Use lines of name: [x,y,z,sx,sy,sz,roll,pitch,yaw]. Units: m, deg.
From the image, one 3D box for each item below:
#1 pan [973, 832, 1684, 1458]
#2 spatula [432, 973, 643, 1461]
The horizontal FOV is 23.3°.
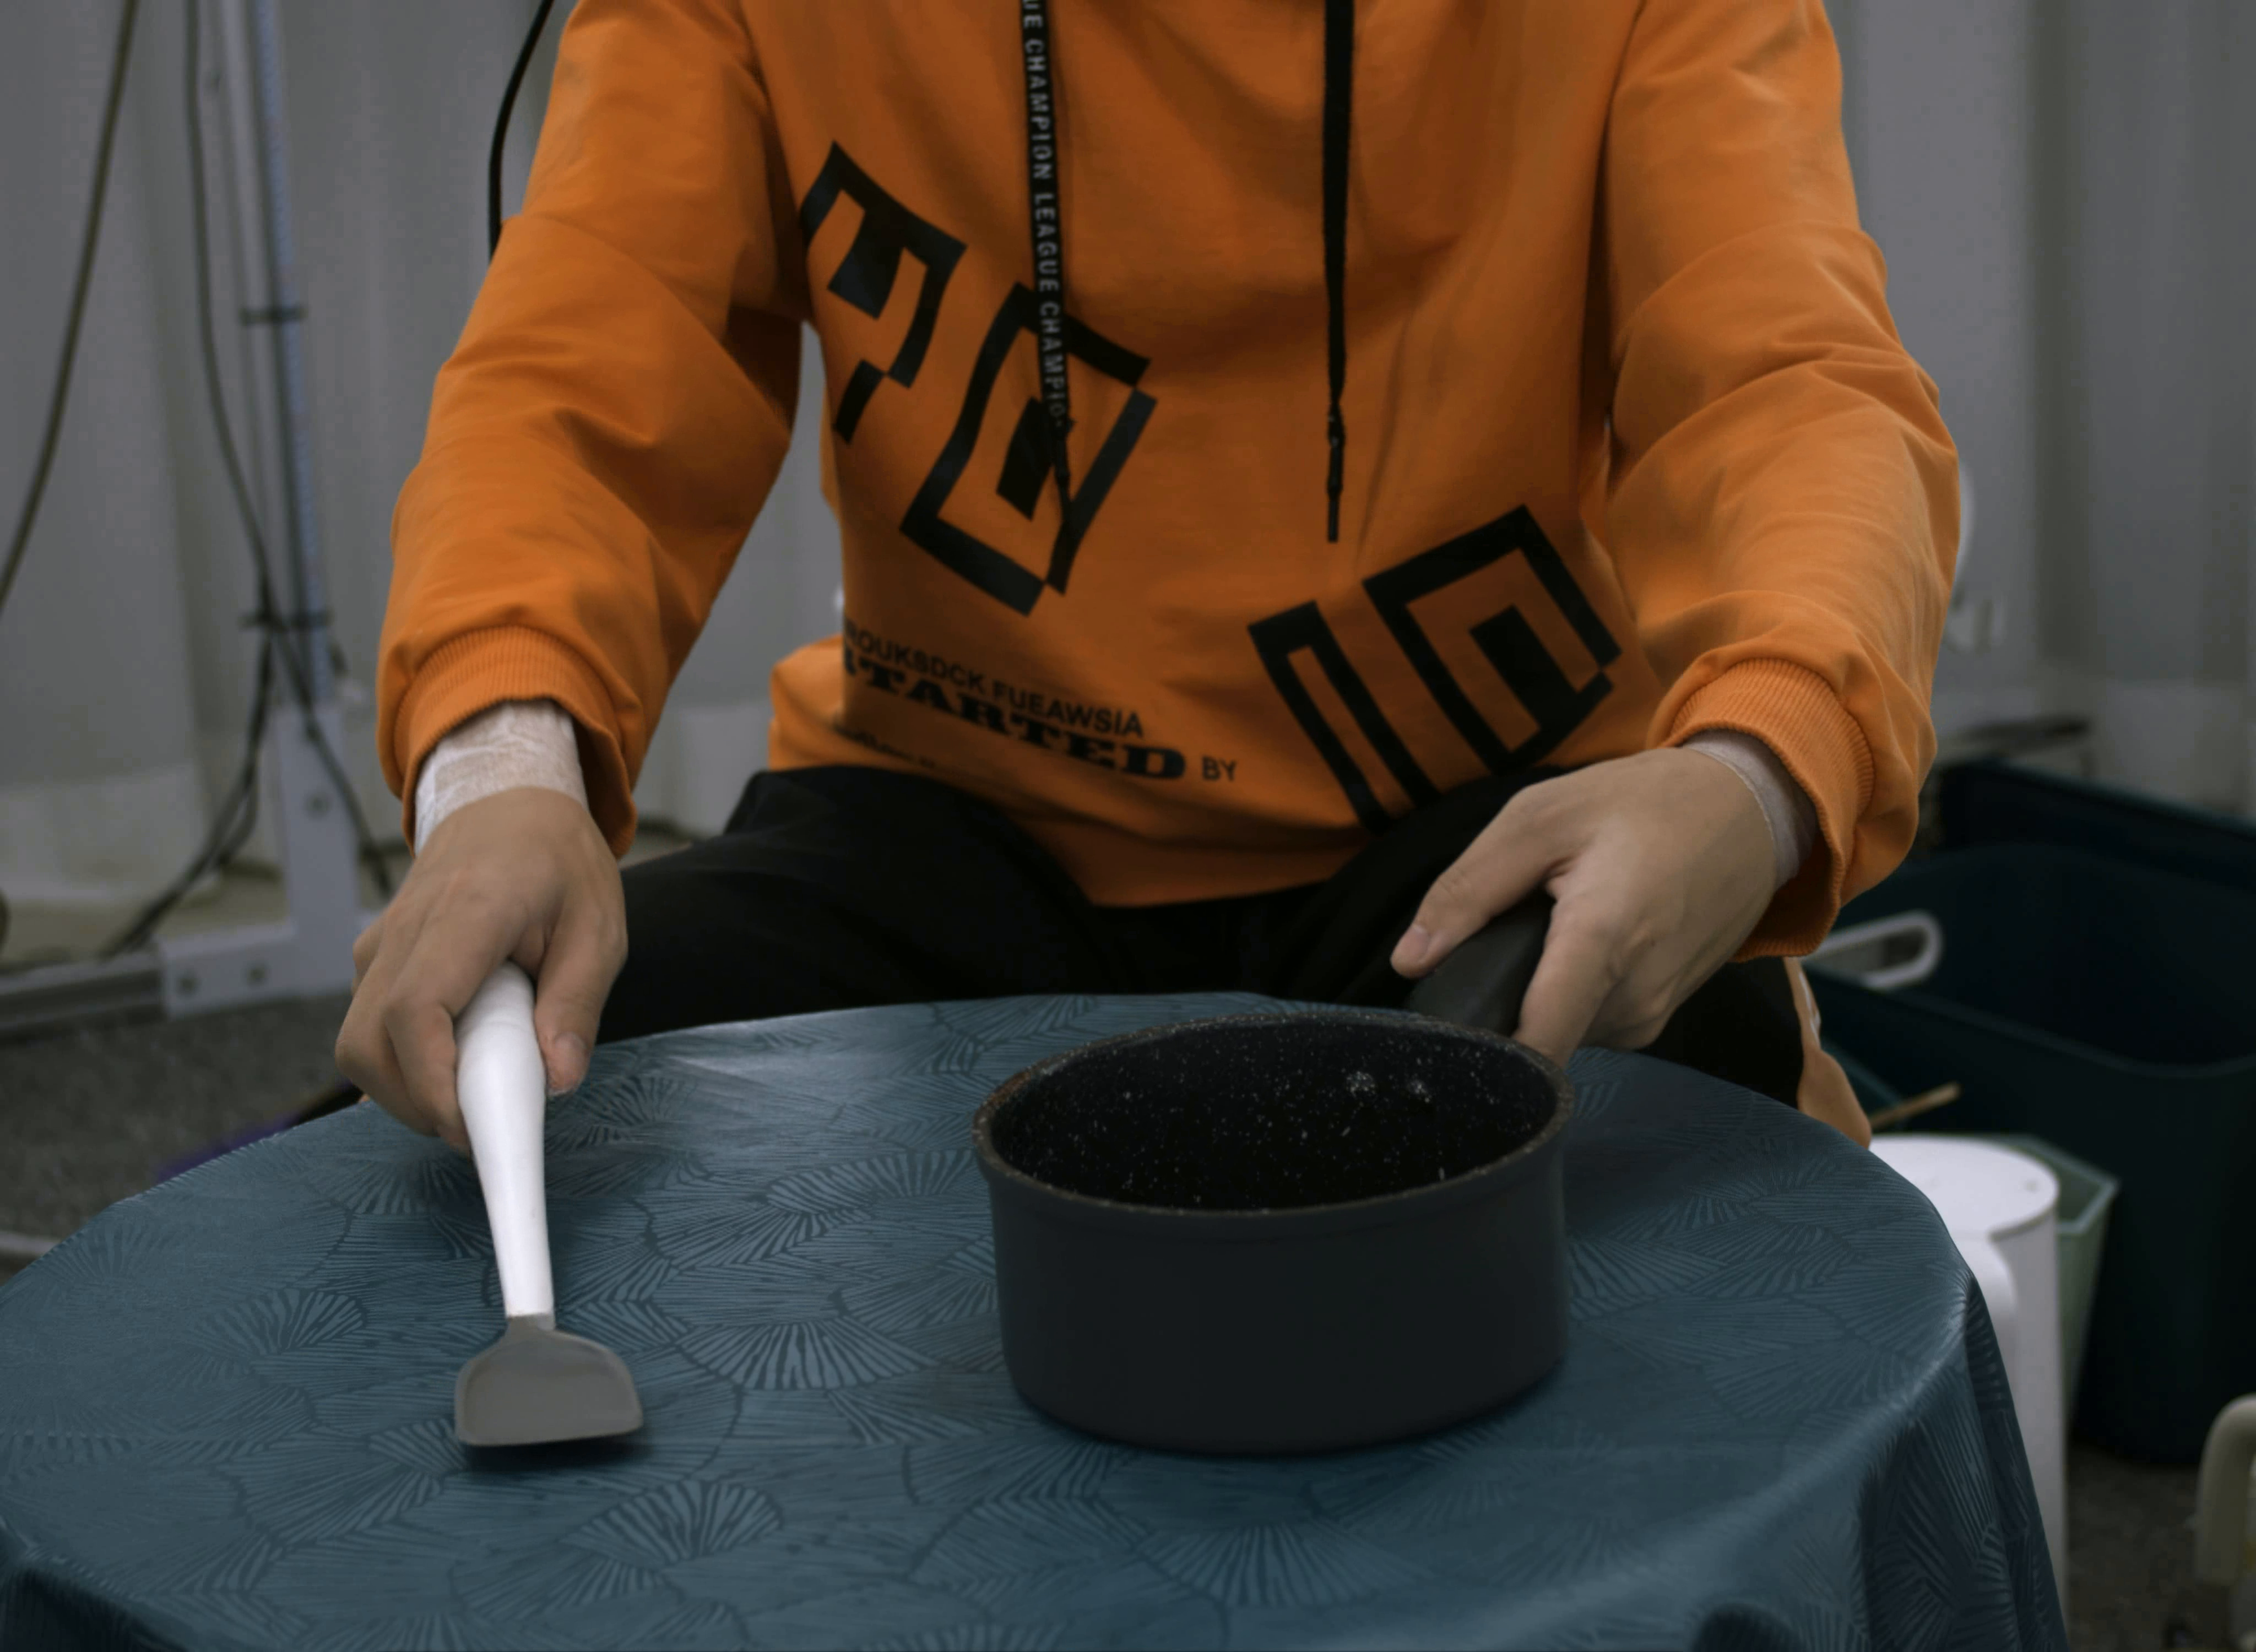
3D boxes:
pan: [0.082,0.090,1.617,0.172,0.086,0.329,7,21,29]
spatula: [-0.183,0.121,1.634,0.058,0.032,0.291,0,24,-11]
